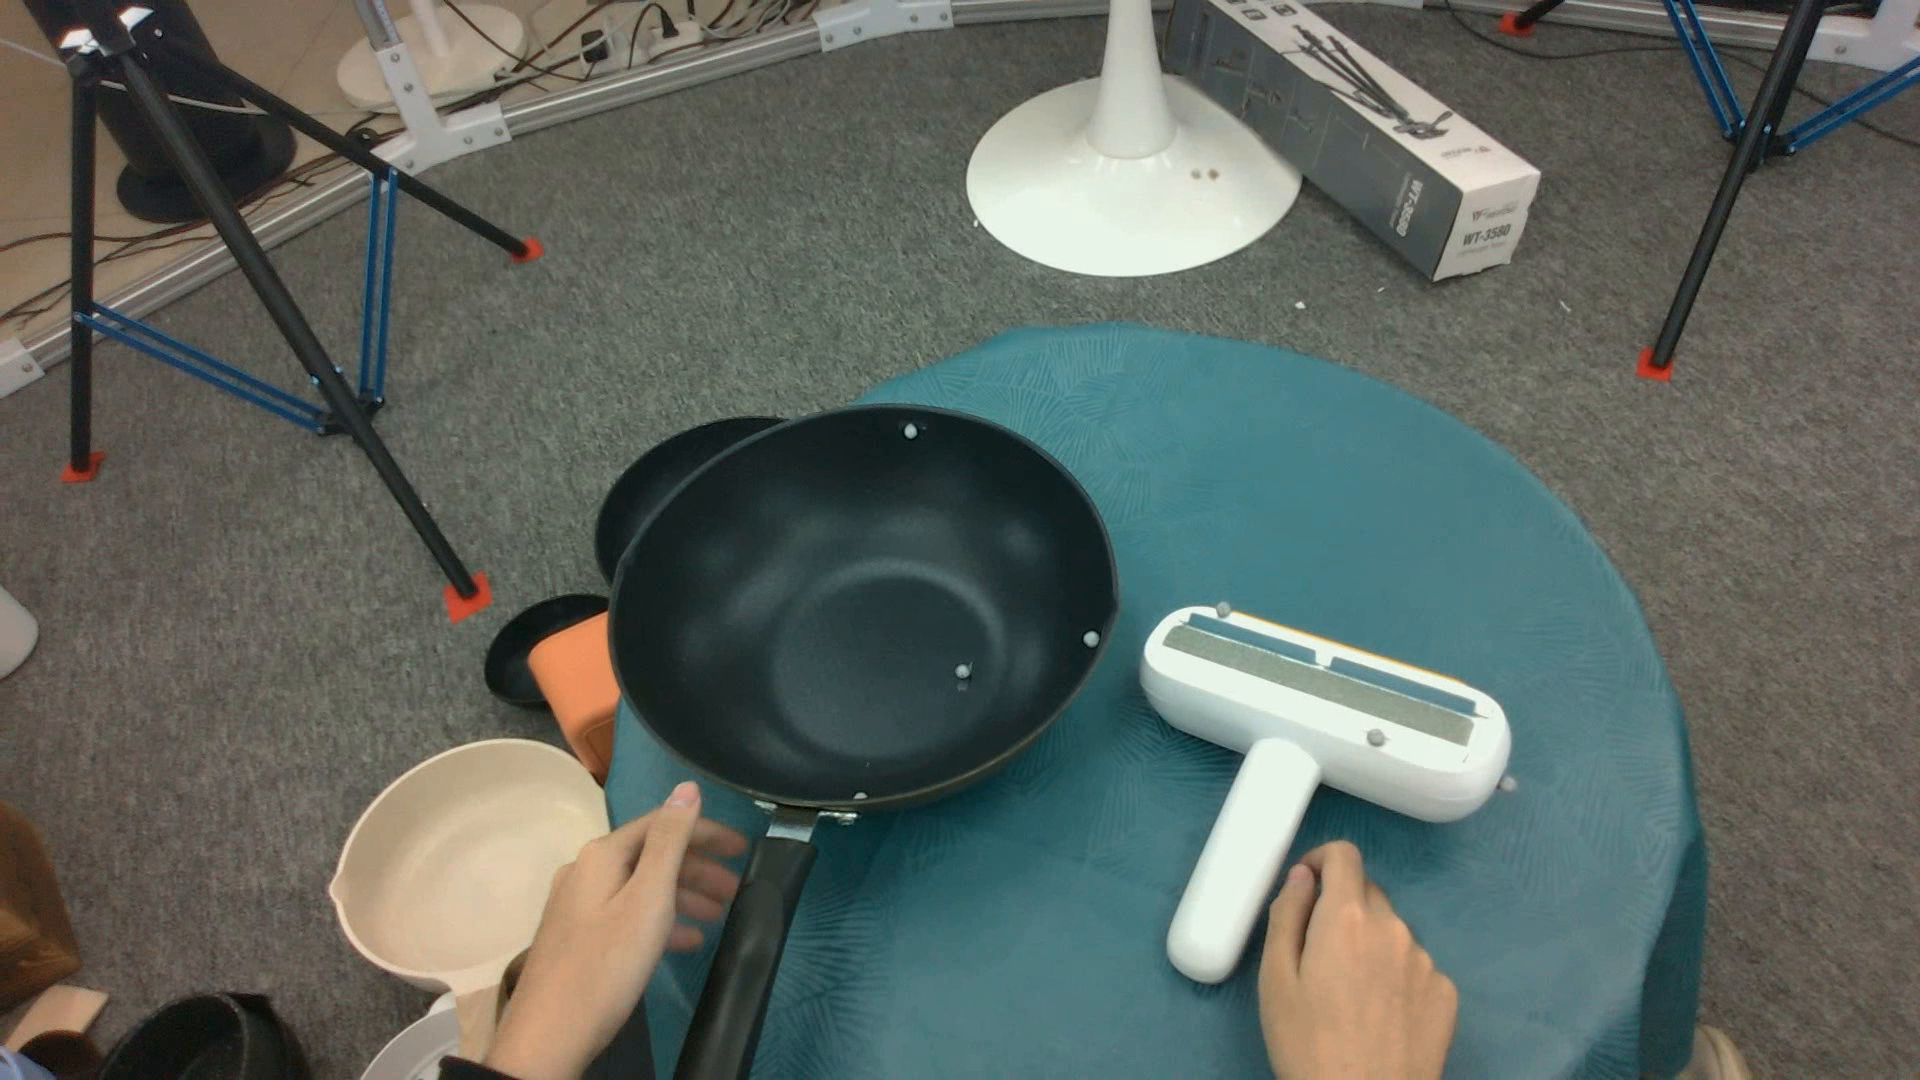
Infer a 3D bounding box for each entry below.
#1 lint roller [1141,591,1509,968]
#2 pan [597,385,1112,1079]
[{"bbox_3d":[0.154,0.125,0.700,0.193,0.074,0.193,23,58,30],"label":"lint roller"},{"bbox_3d":[-0.074,0.109,0.730,0.288,0.086,0.465,5,52,11],"label":"pan"}]
